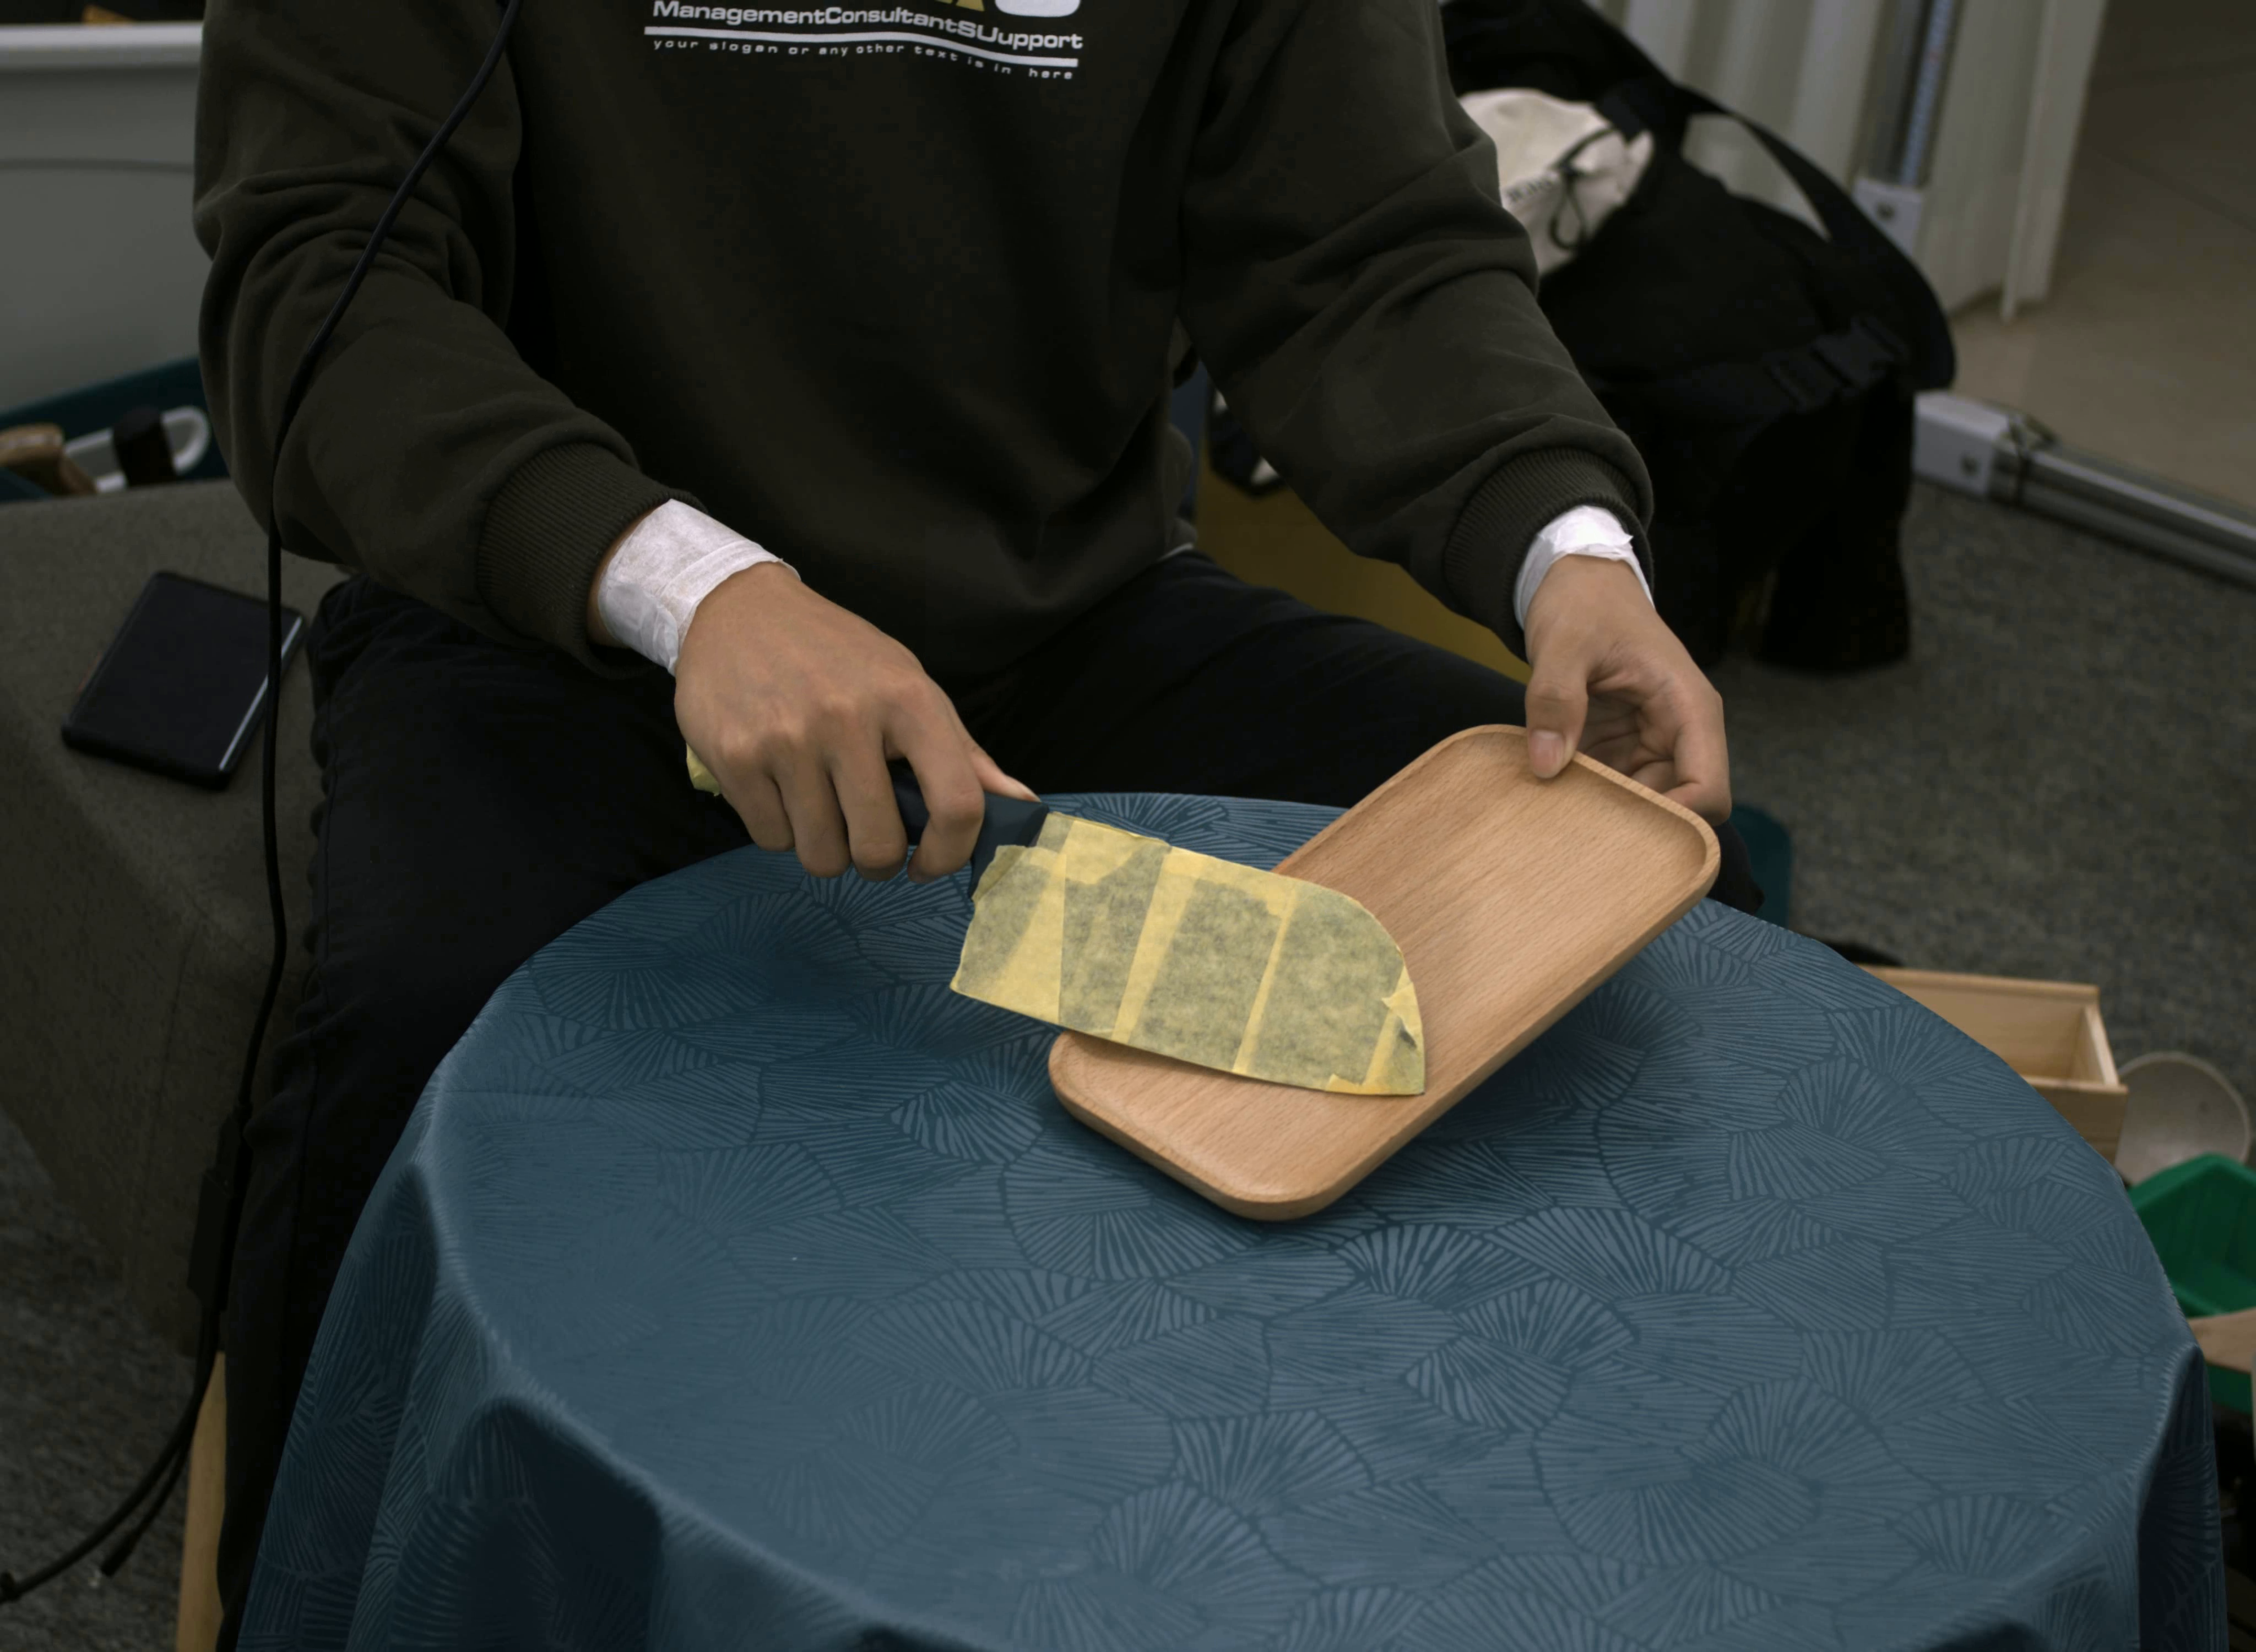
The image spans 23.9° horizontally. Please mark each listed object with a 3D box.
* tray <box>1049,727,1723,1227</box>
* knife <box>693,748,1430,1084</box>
[{"bbox_3d":[0.093,0.051,1.874,0.131,0.023,0.250,27,51,37],"label":"tray"},{"bbox_3d":[-0.028,0.030,1.869,0.290,0.081,0.027,18,-14,18],"label":"knife"}]
